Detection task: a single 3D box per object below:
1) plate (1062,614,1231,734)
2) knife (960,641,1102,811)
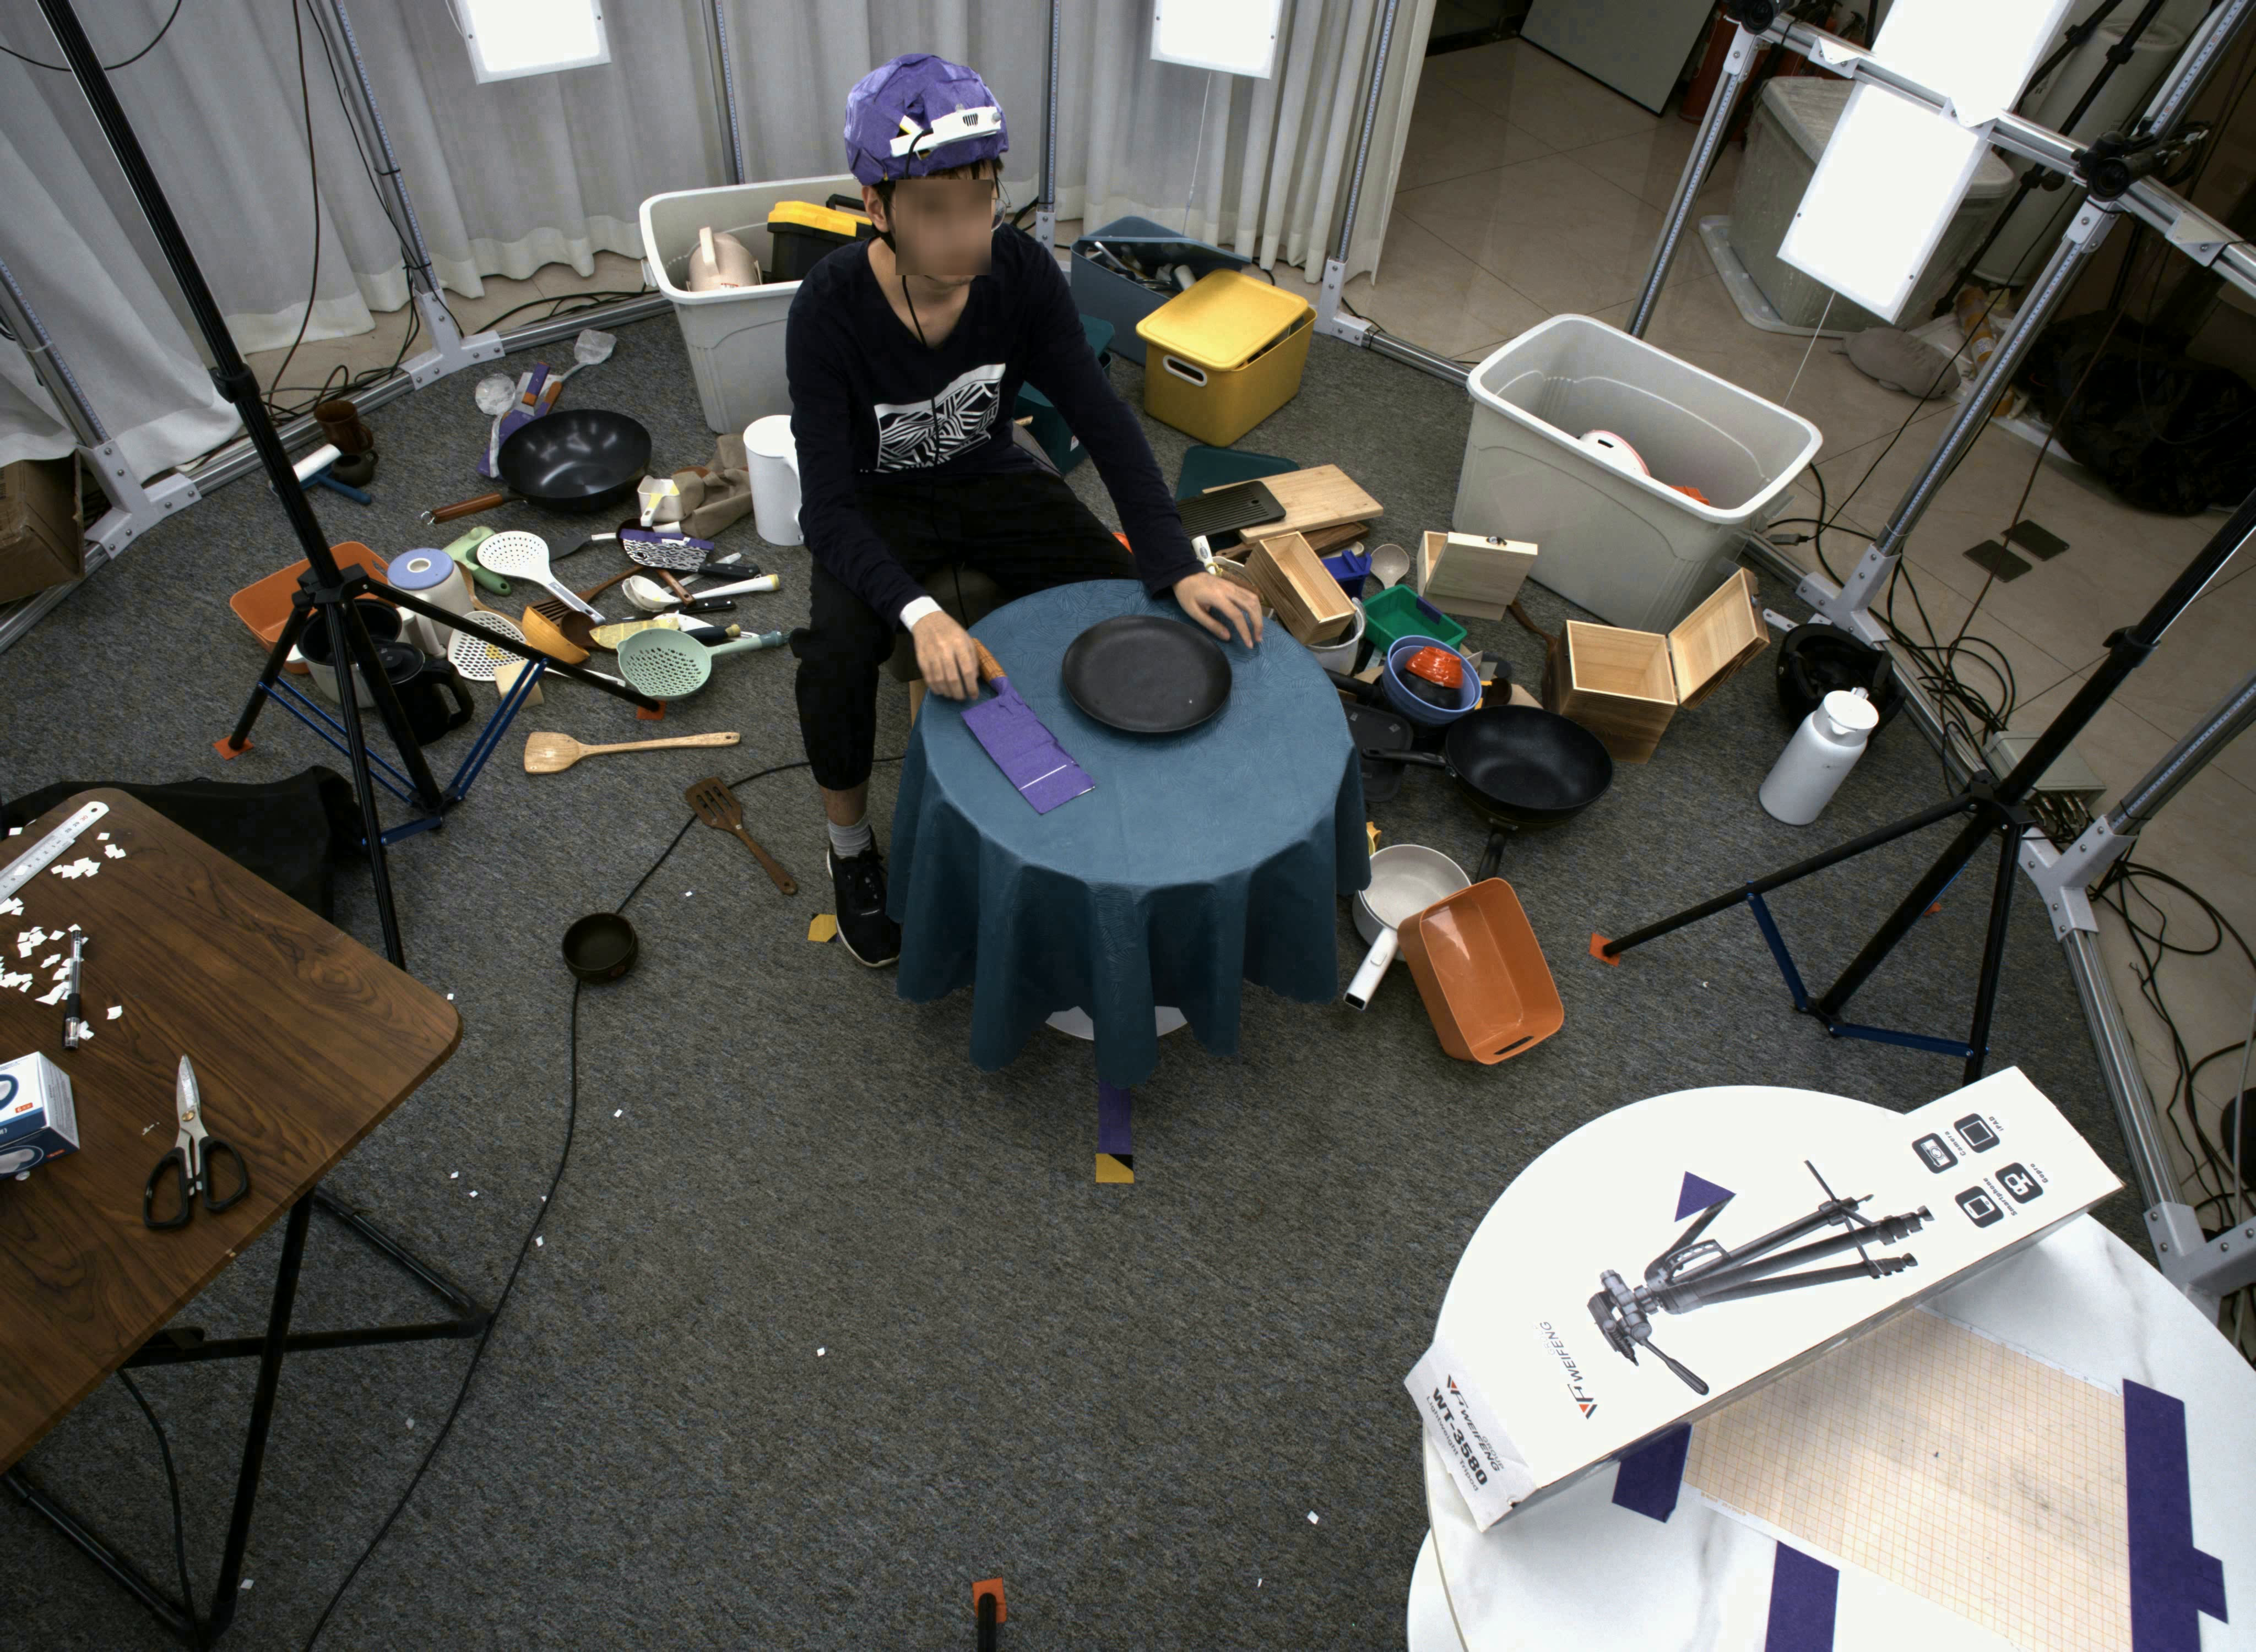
[{"bbox_3d":[0.026,-0.216,1.842,0.244,0.023,0.250,2,49,-3],"label":"plate"},{"bbox_3d":[-0.164,-0.142,1.762,0.104,0.031,0.321,-26,56,-24],"label":"knife"}]
